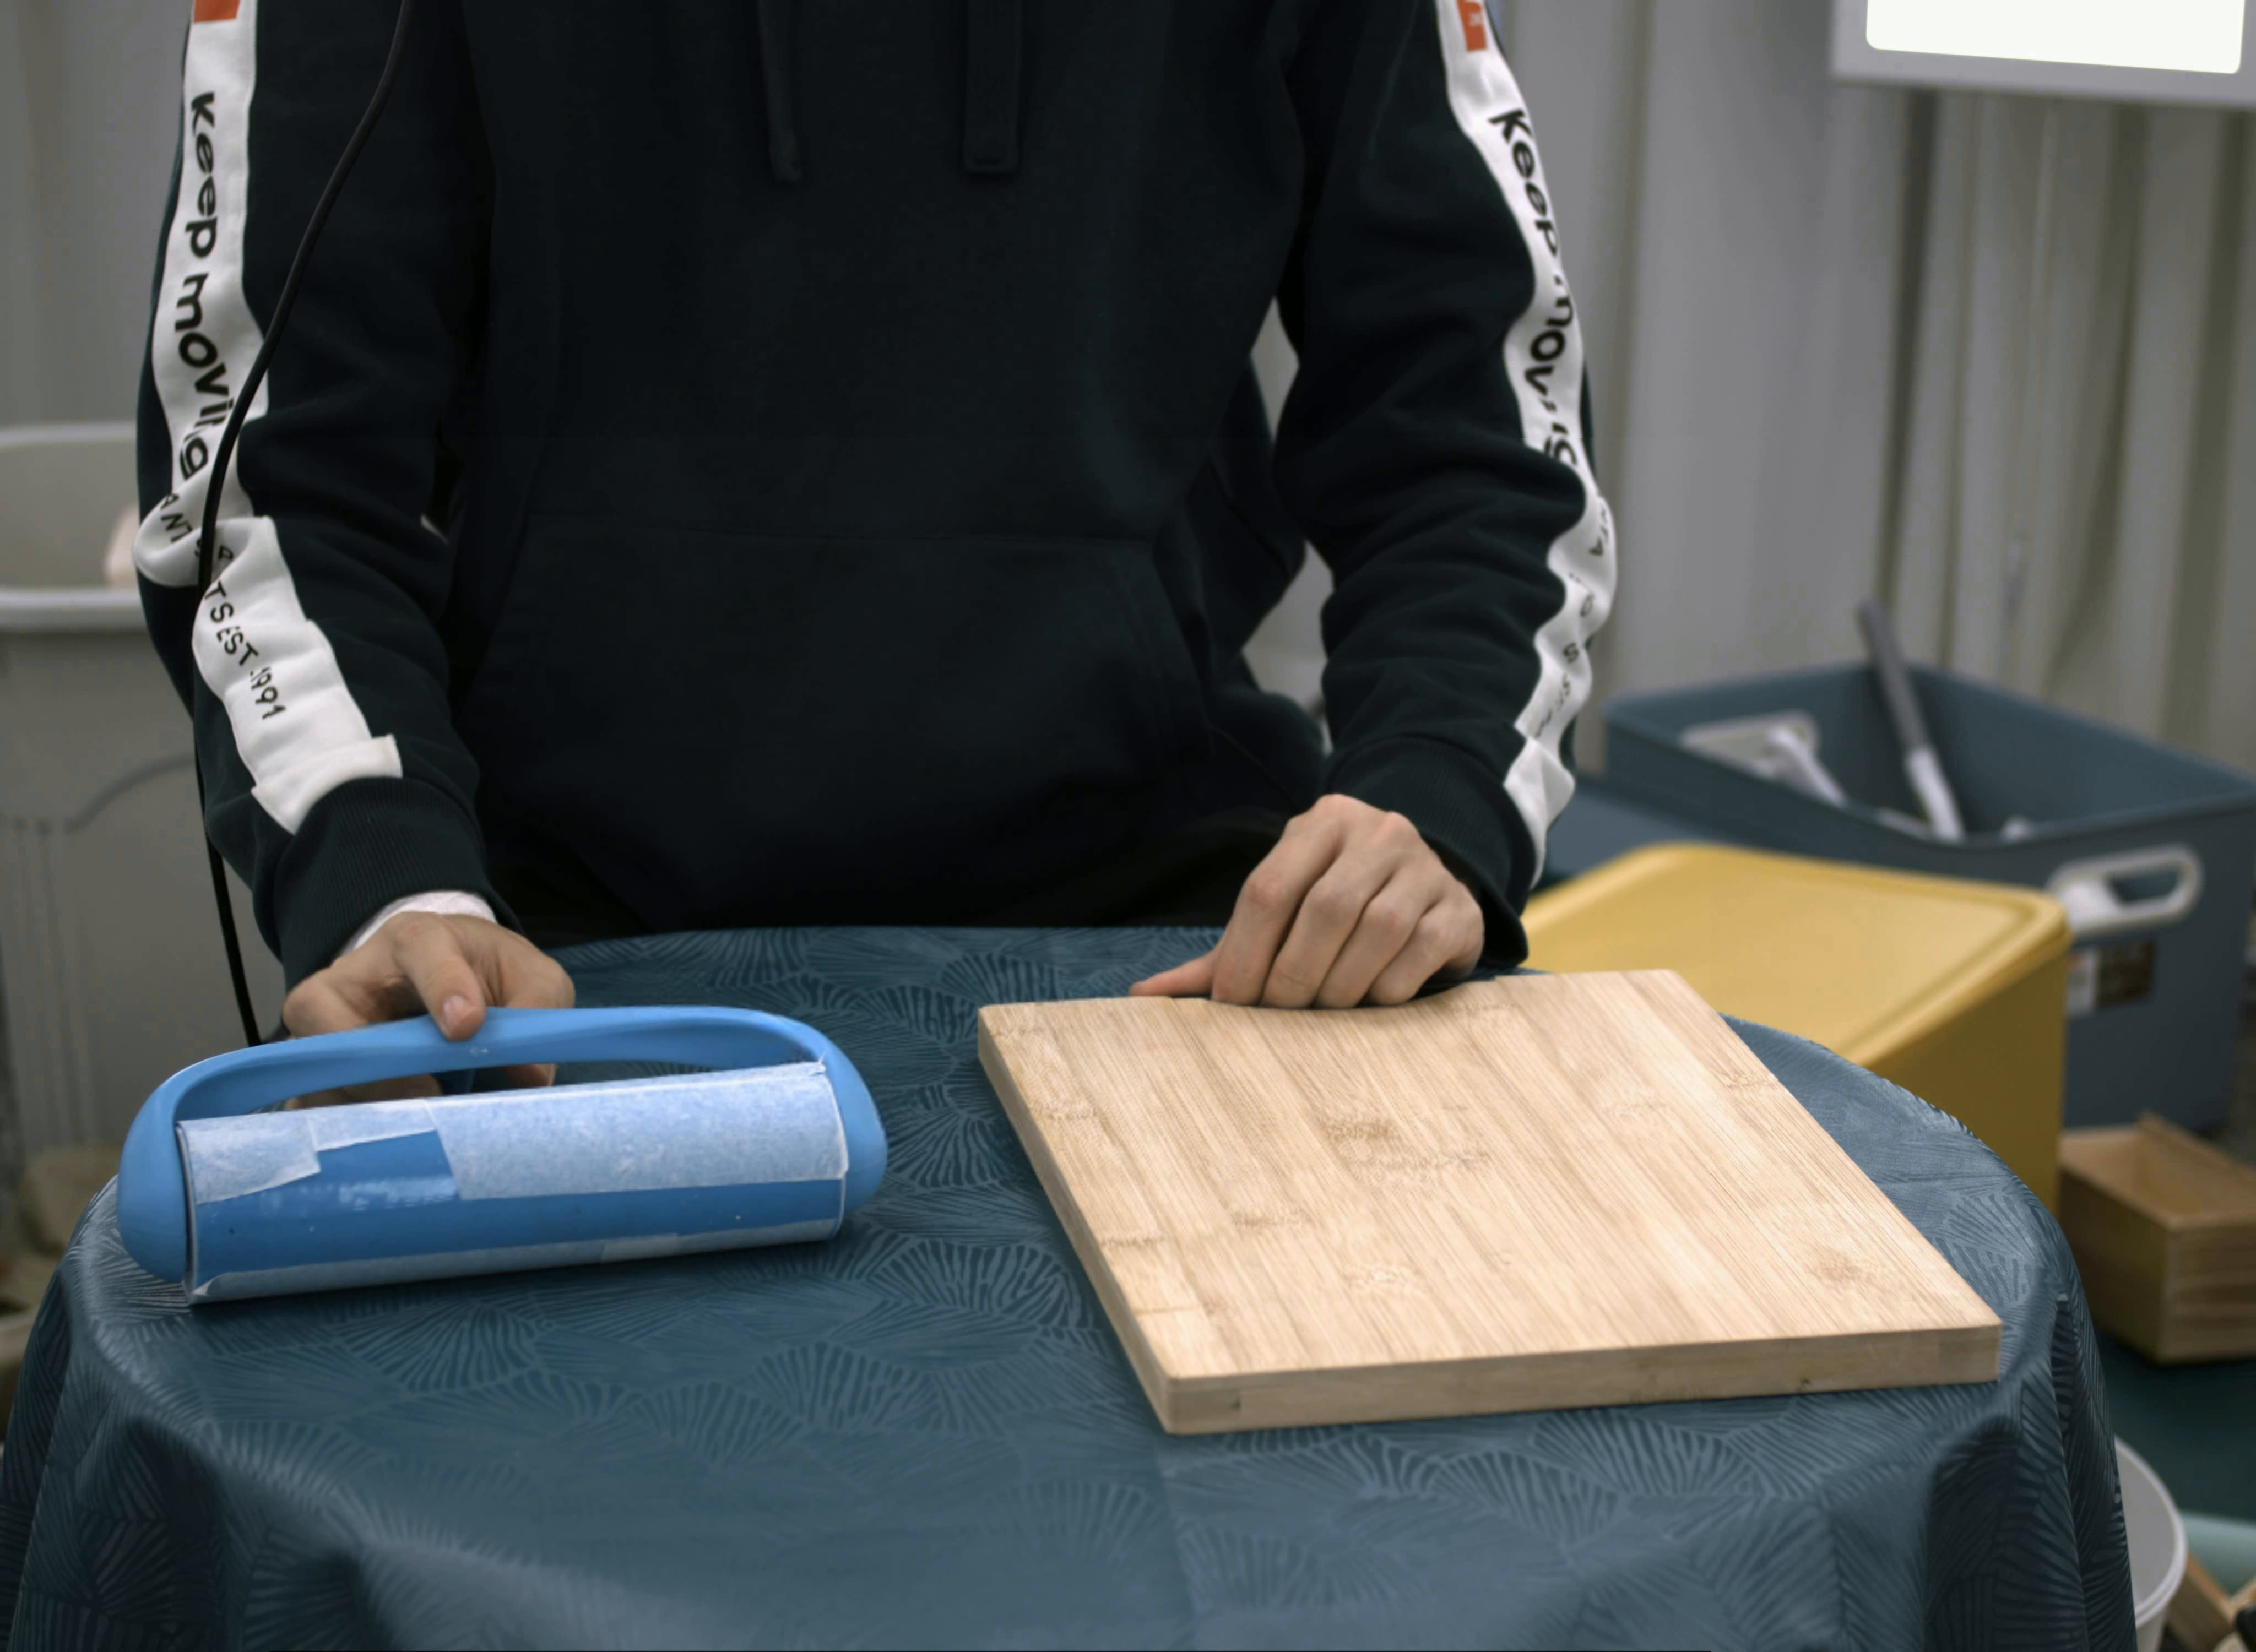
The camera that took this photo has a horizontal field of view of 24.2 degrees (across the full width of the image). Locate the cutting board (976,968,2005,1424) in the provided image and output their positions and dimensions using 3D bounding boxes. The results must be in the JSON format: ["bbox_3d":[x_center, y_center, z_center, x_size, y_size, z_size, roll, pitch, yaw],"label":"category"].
[{"bbox_3d":[0.097,0.107,1.611,0.251,0.024,0.345,-2,16,-11],"label":"cutting board"}]

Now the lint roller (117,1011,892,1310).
[{"bbox_3d":[-0.201,0.088,1.594,0.229,0.068,0.178,-7,18,-19],"label":"lint roller"}]
